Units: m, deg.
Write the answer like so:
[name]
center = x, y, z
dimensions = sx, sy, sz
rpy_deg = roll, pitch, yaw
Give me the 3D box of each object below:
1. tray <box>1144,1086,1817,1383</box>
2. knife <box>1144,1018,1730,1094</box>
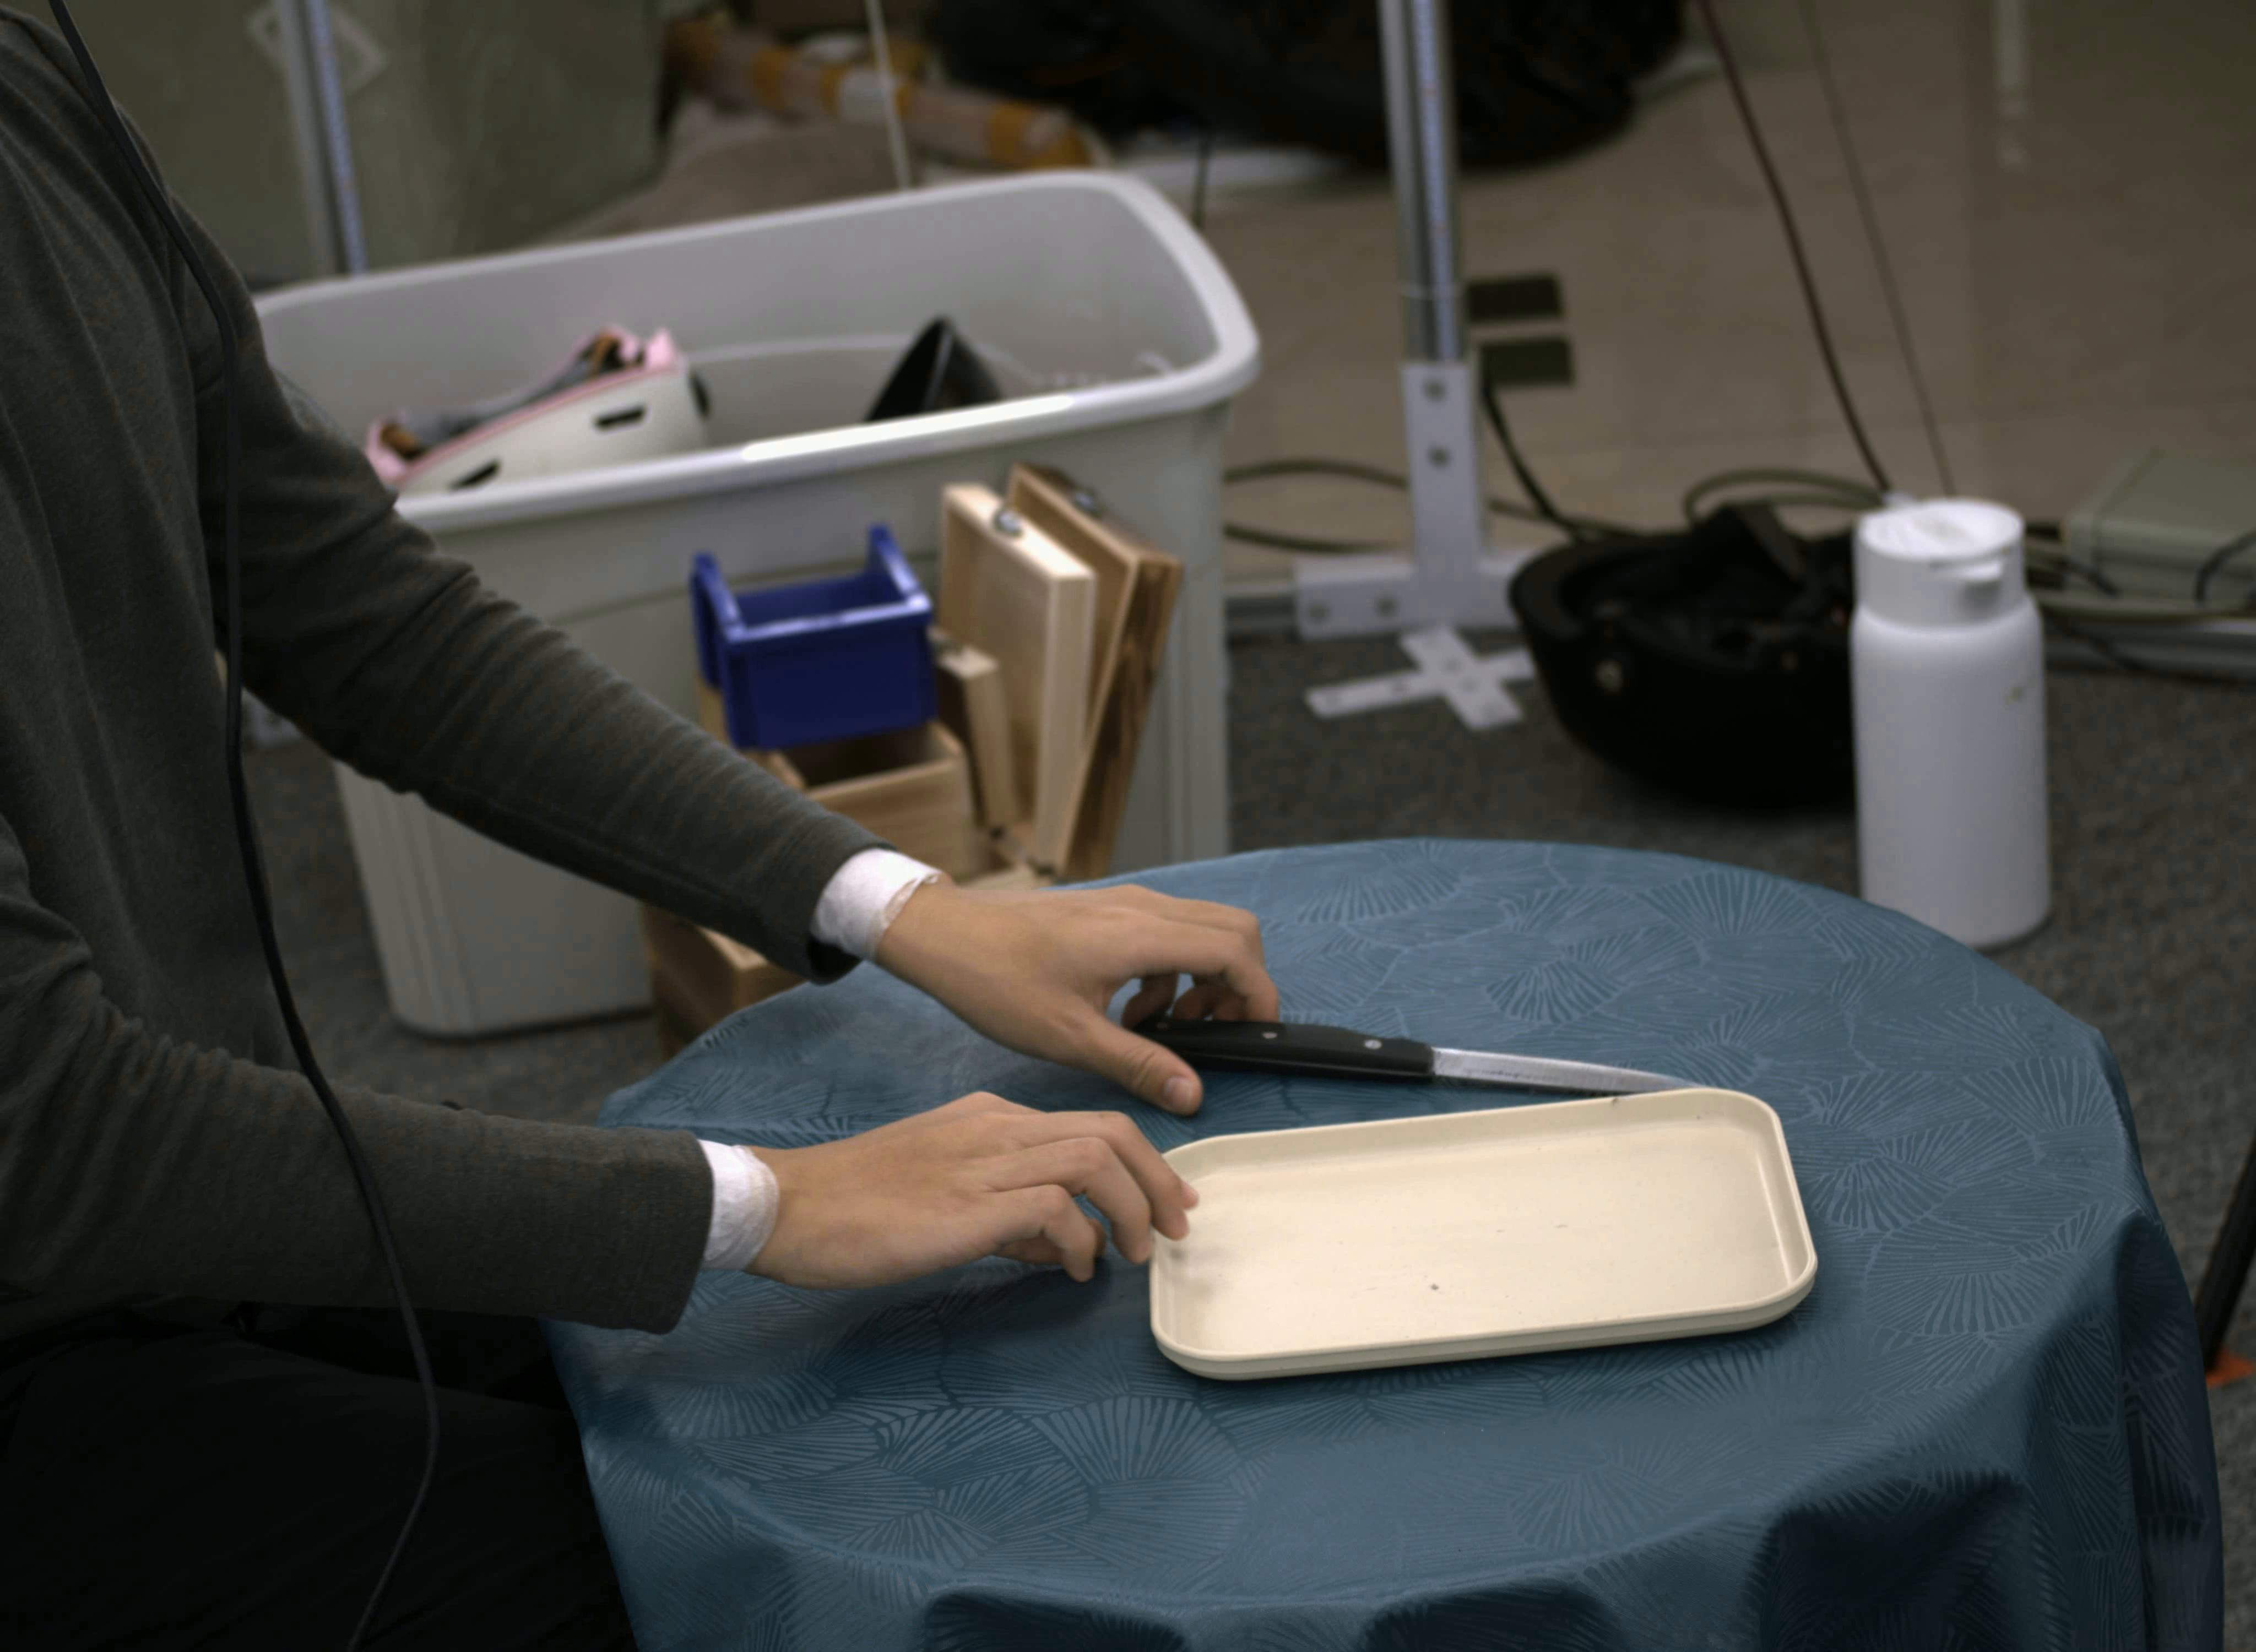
[tray]
center = 0.126, 0.150, 2.075
dimensions = 0.239, 0.018, 0.169
rpy_deg = -6, 25, 2
[knife]
center = 0.117, 0.093, 2.208
dimensions = 0.237, 0.016, 0.024
rpy_deg = 4, 31, 18
